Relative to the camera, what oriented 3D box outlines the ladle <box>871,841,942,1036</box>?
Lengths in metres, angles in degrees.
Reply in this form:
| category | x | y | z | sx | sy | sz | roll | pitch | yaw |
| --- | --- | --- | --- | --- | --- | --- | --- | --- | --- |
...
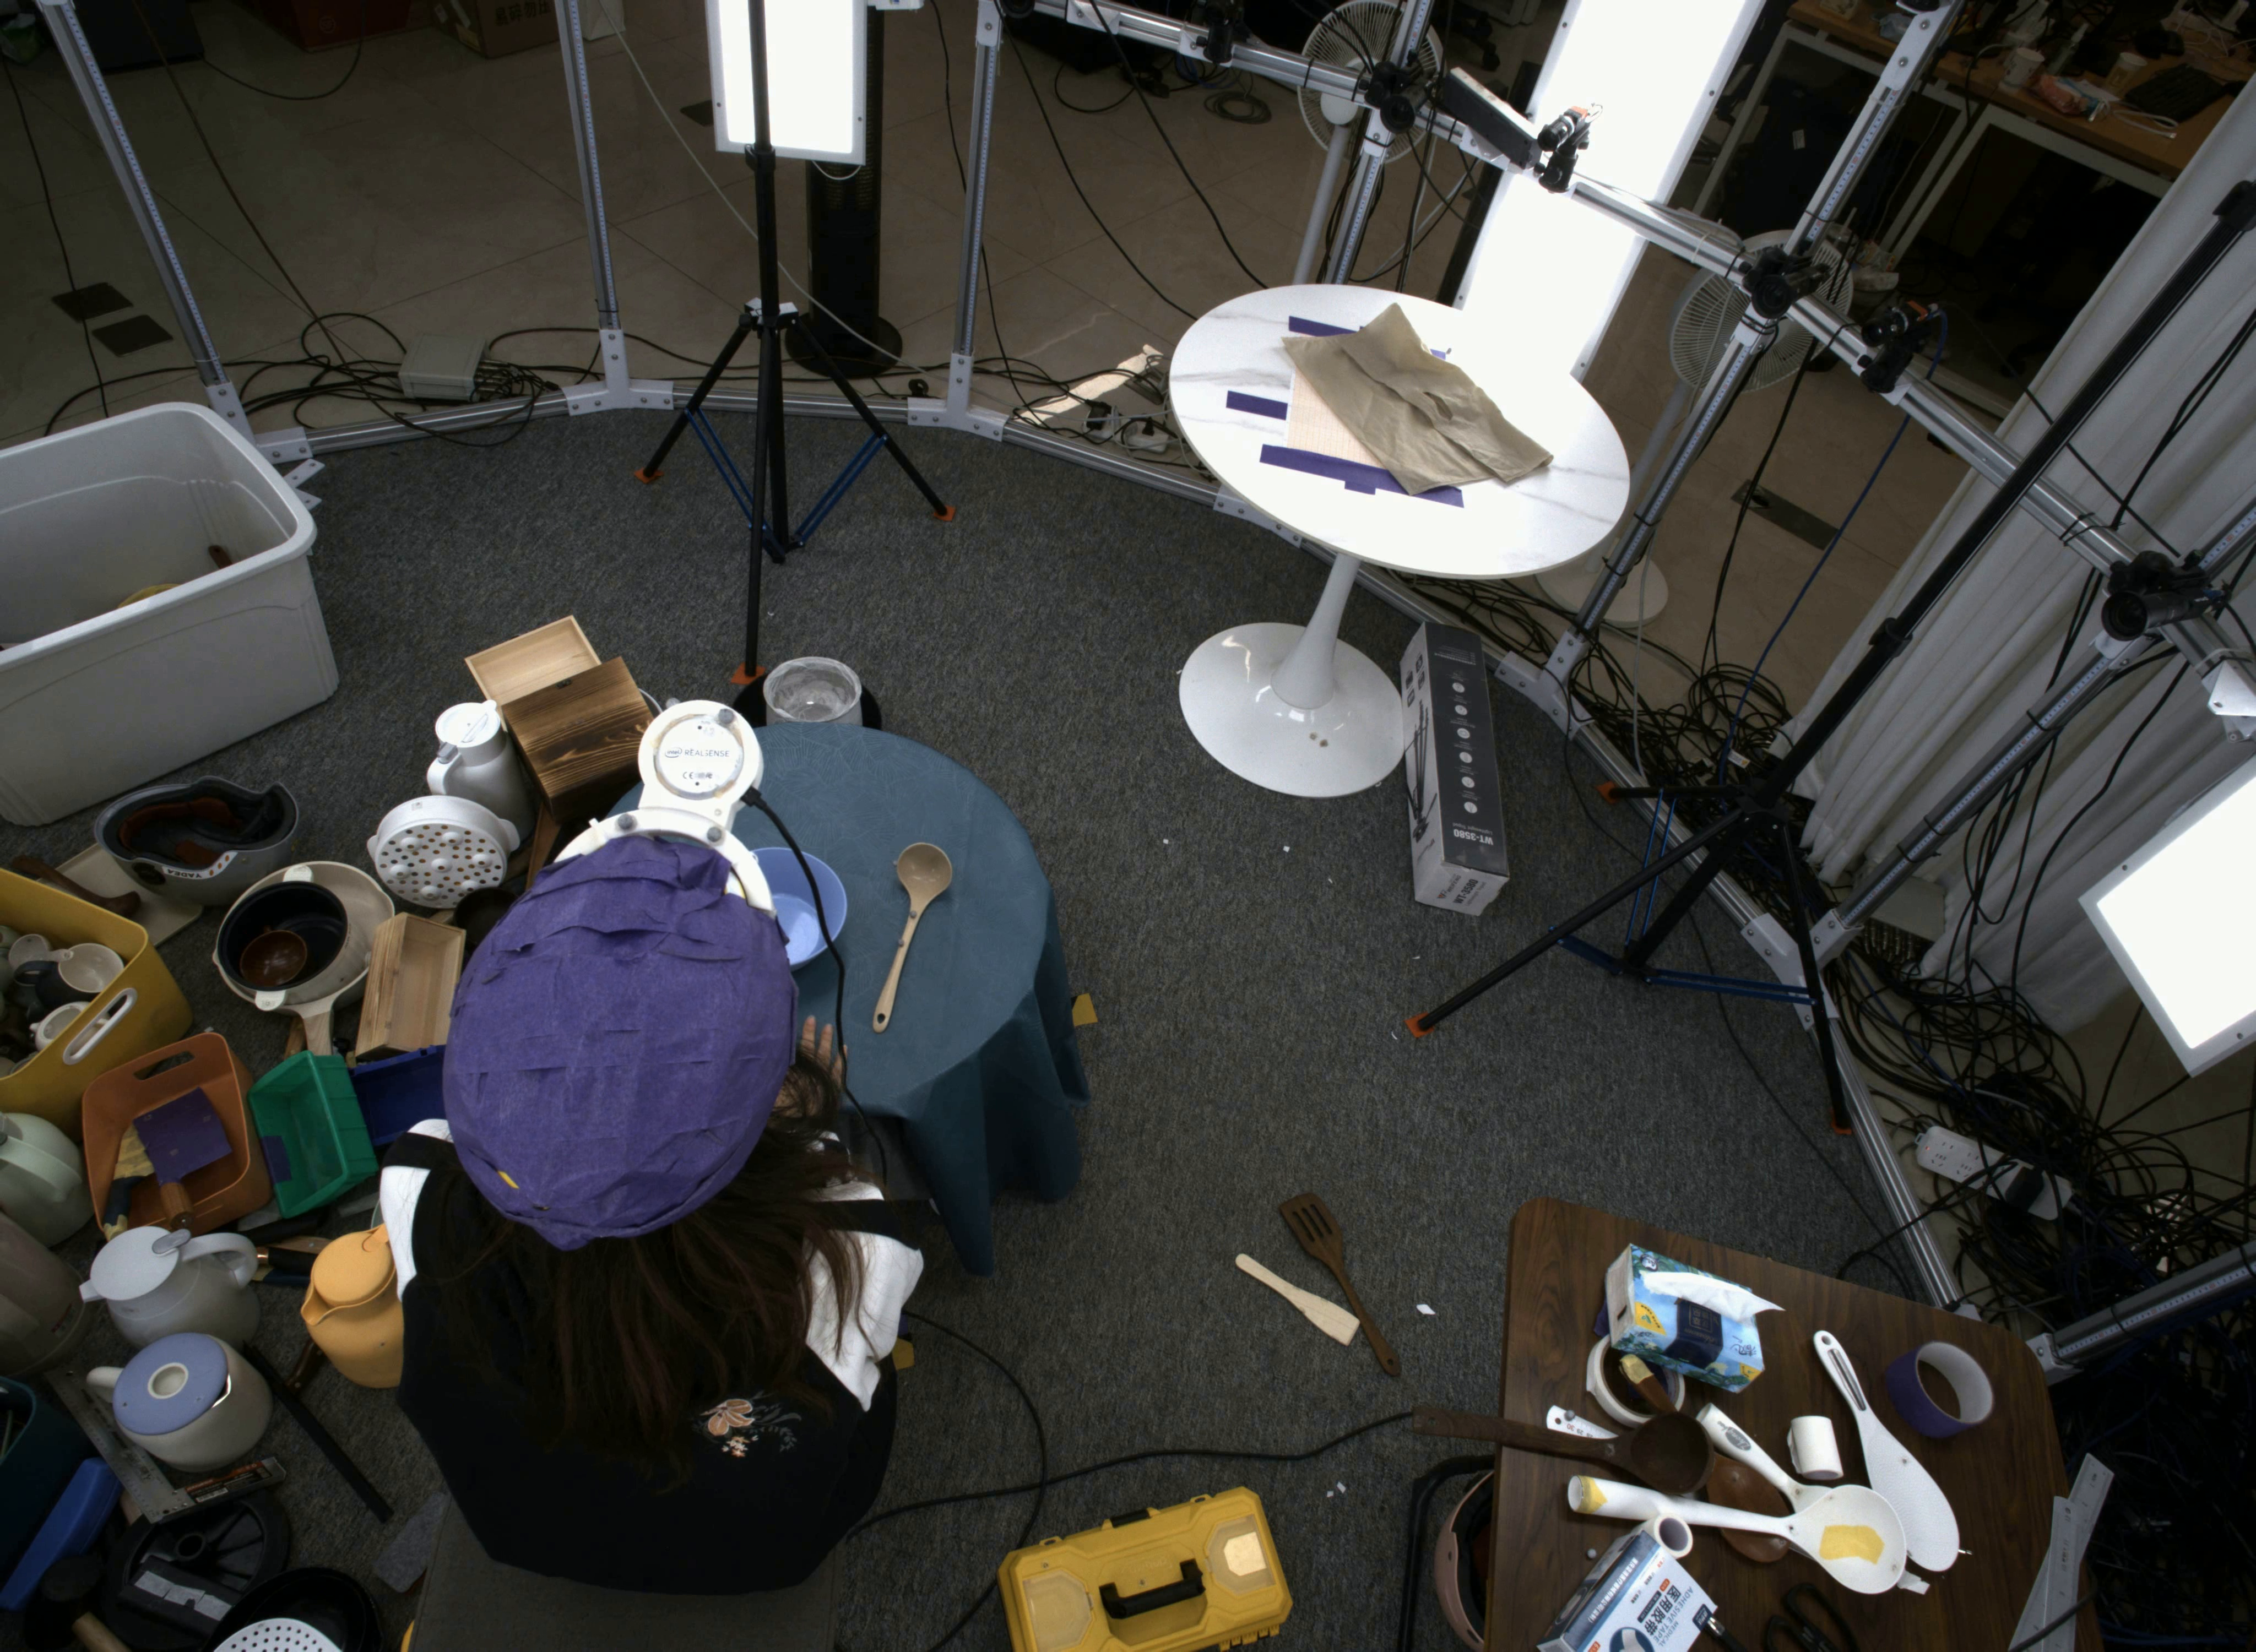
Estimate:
| category | x | y | z | sx | sy | sz | roll | pitch | yaw |
| --- | --- | --- | --- | --- | --- | --- | --- | --- | --- |
| ladle | -0.286 | 0.129 | 1.611 | 0.071 | 0.074 | 0.250 | 9 | 52 | -1 |

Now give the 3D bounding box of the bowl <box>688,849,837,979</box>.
| category | x | y | z | sx | sy | sz | roll | pitch | yaw |
| --- | --- | --- | --- | --- | --- | --- | --- | --- | --- |
| bowl | -0.443 | 0.117 | 1.582 | 0.175 | 0.072 | 0.173 | 7 | 52 | -8 |
